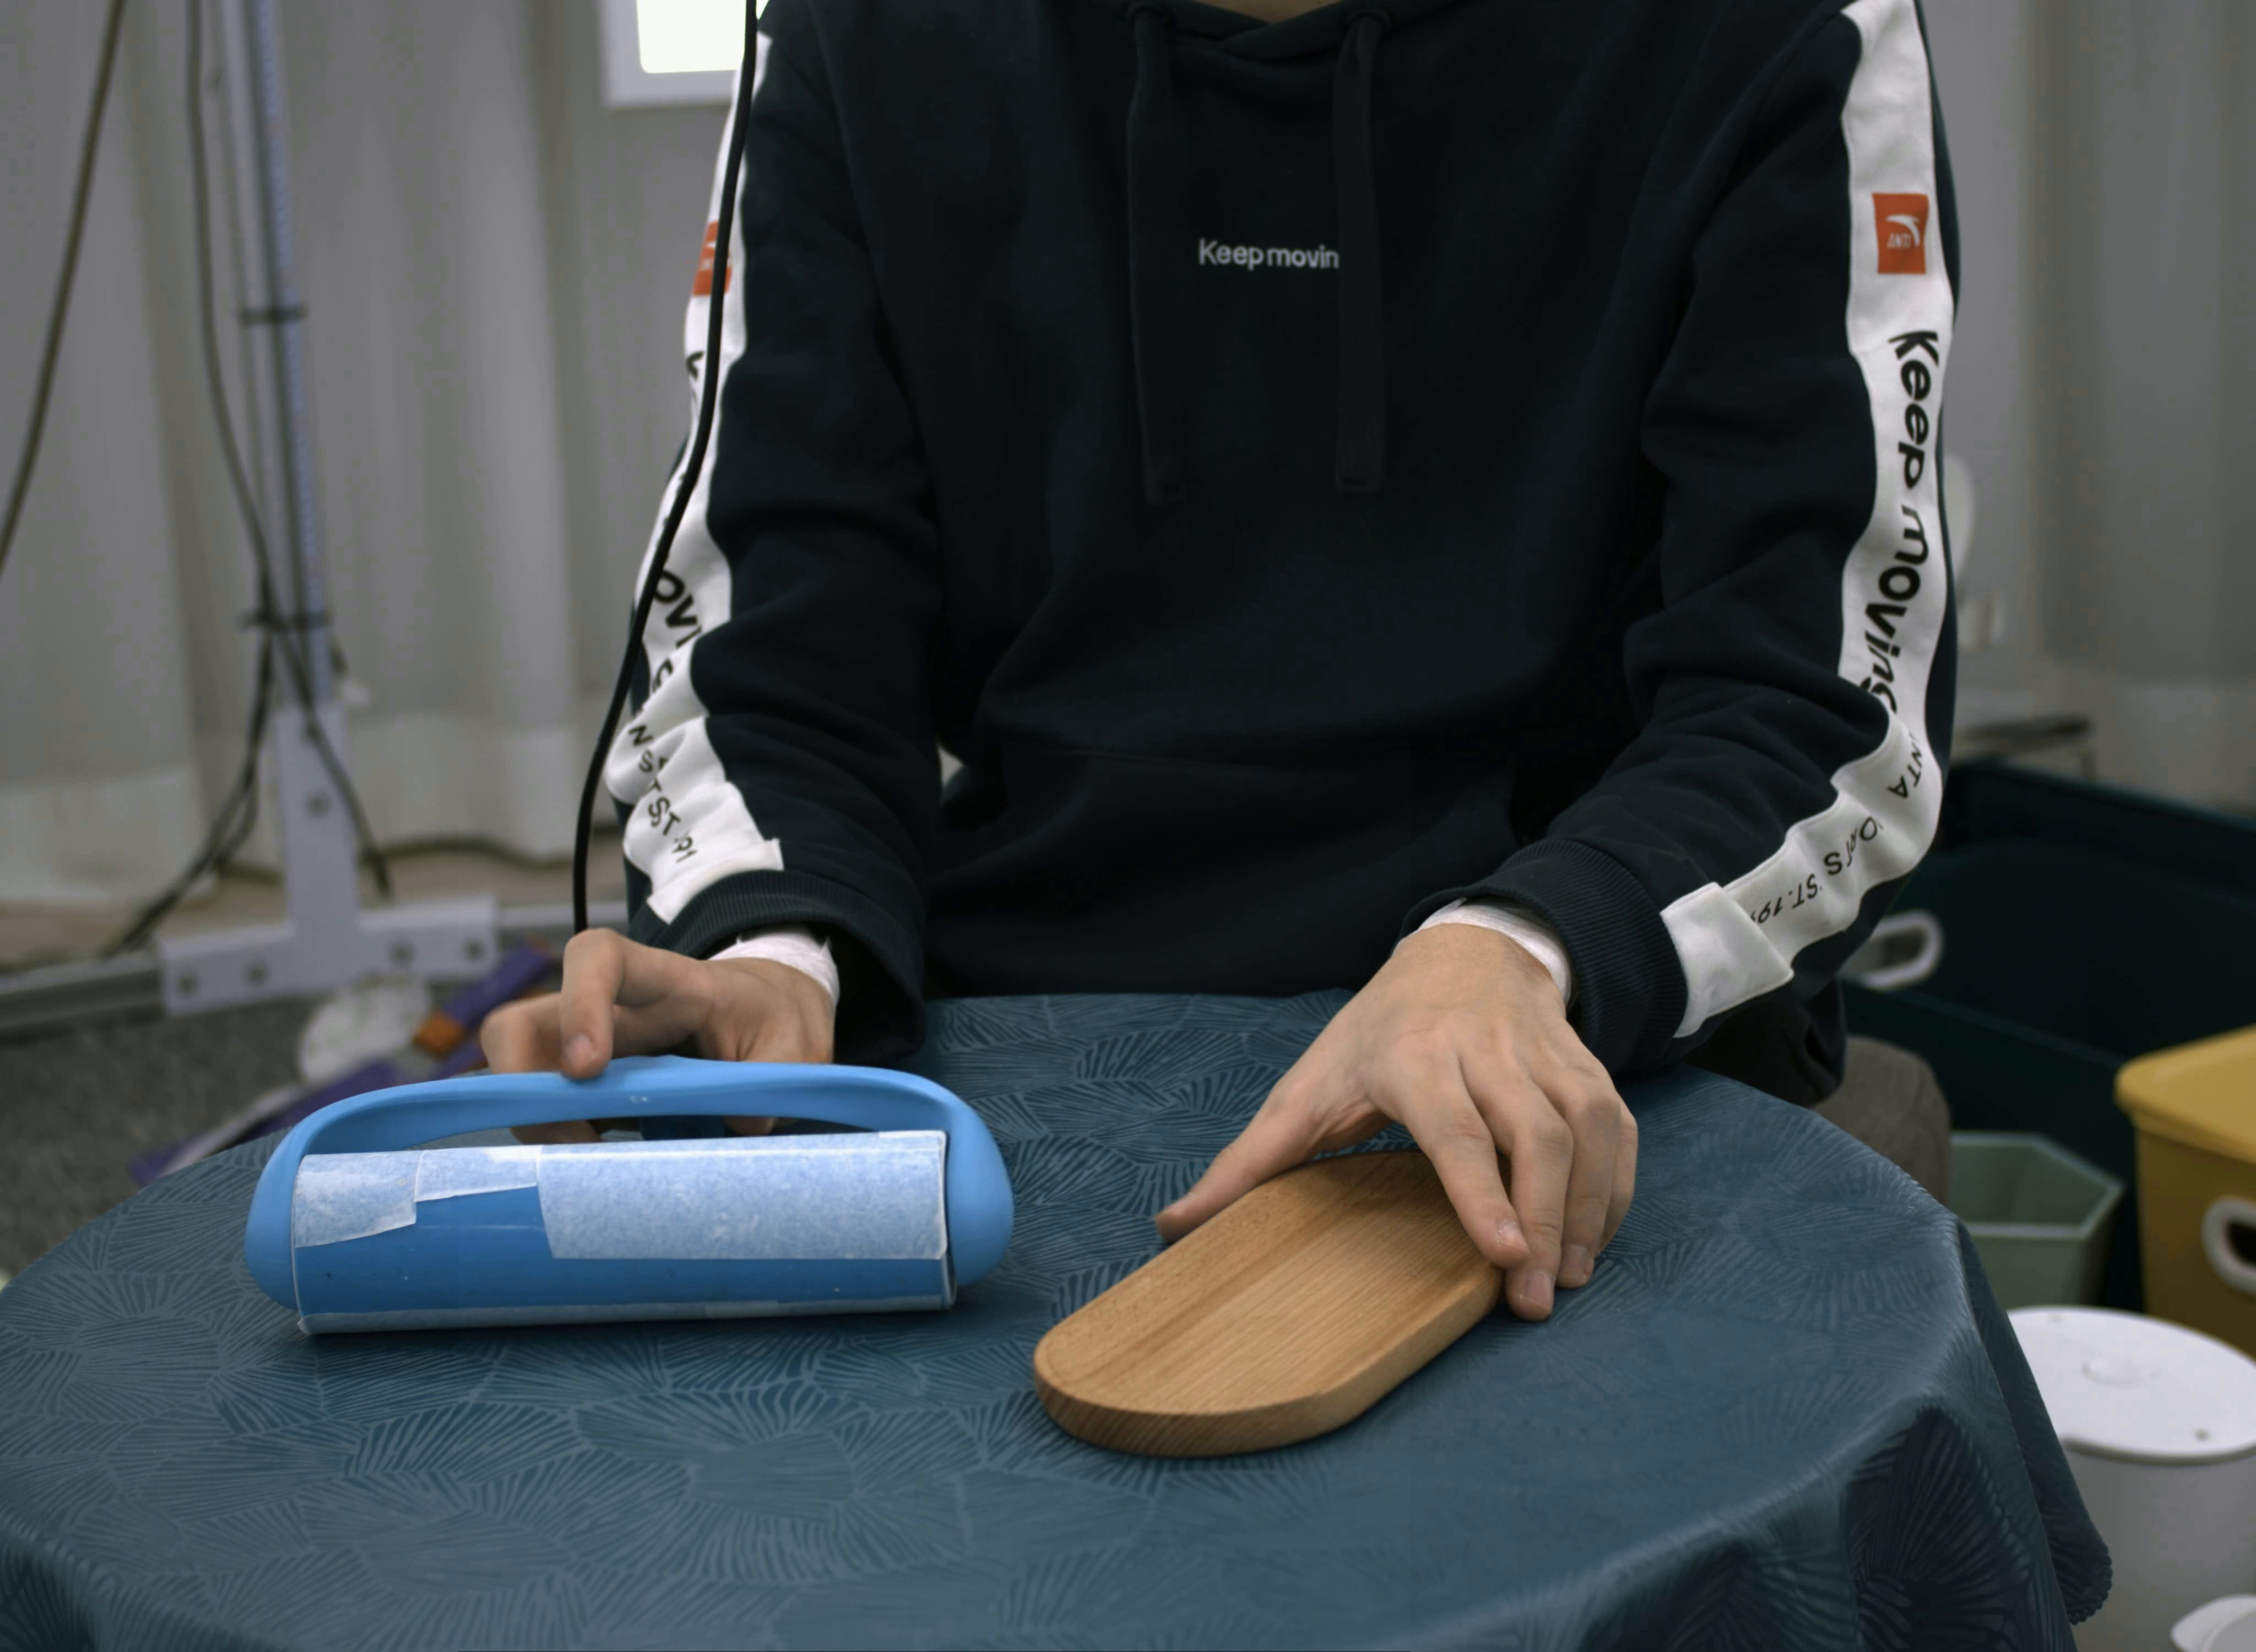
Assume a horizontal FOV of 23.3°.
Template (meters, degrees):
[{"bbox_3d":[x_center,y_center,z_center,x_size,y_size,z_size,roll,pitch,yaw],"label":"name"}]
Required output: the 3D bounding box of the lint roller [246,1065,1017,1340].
[{"bbox_3d":[-0.148,0.104,1.675,0.228,0.067,0.181,-4,16,0],"label":"lint roller"}]

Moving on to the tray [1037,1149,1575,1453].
[{"bbox_3d":[0.055,0.136,1.592,0.102,0.020,0.231,6,16,26],"label":"tray"}]
